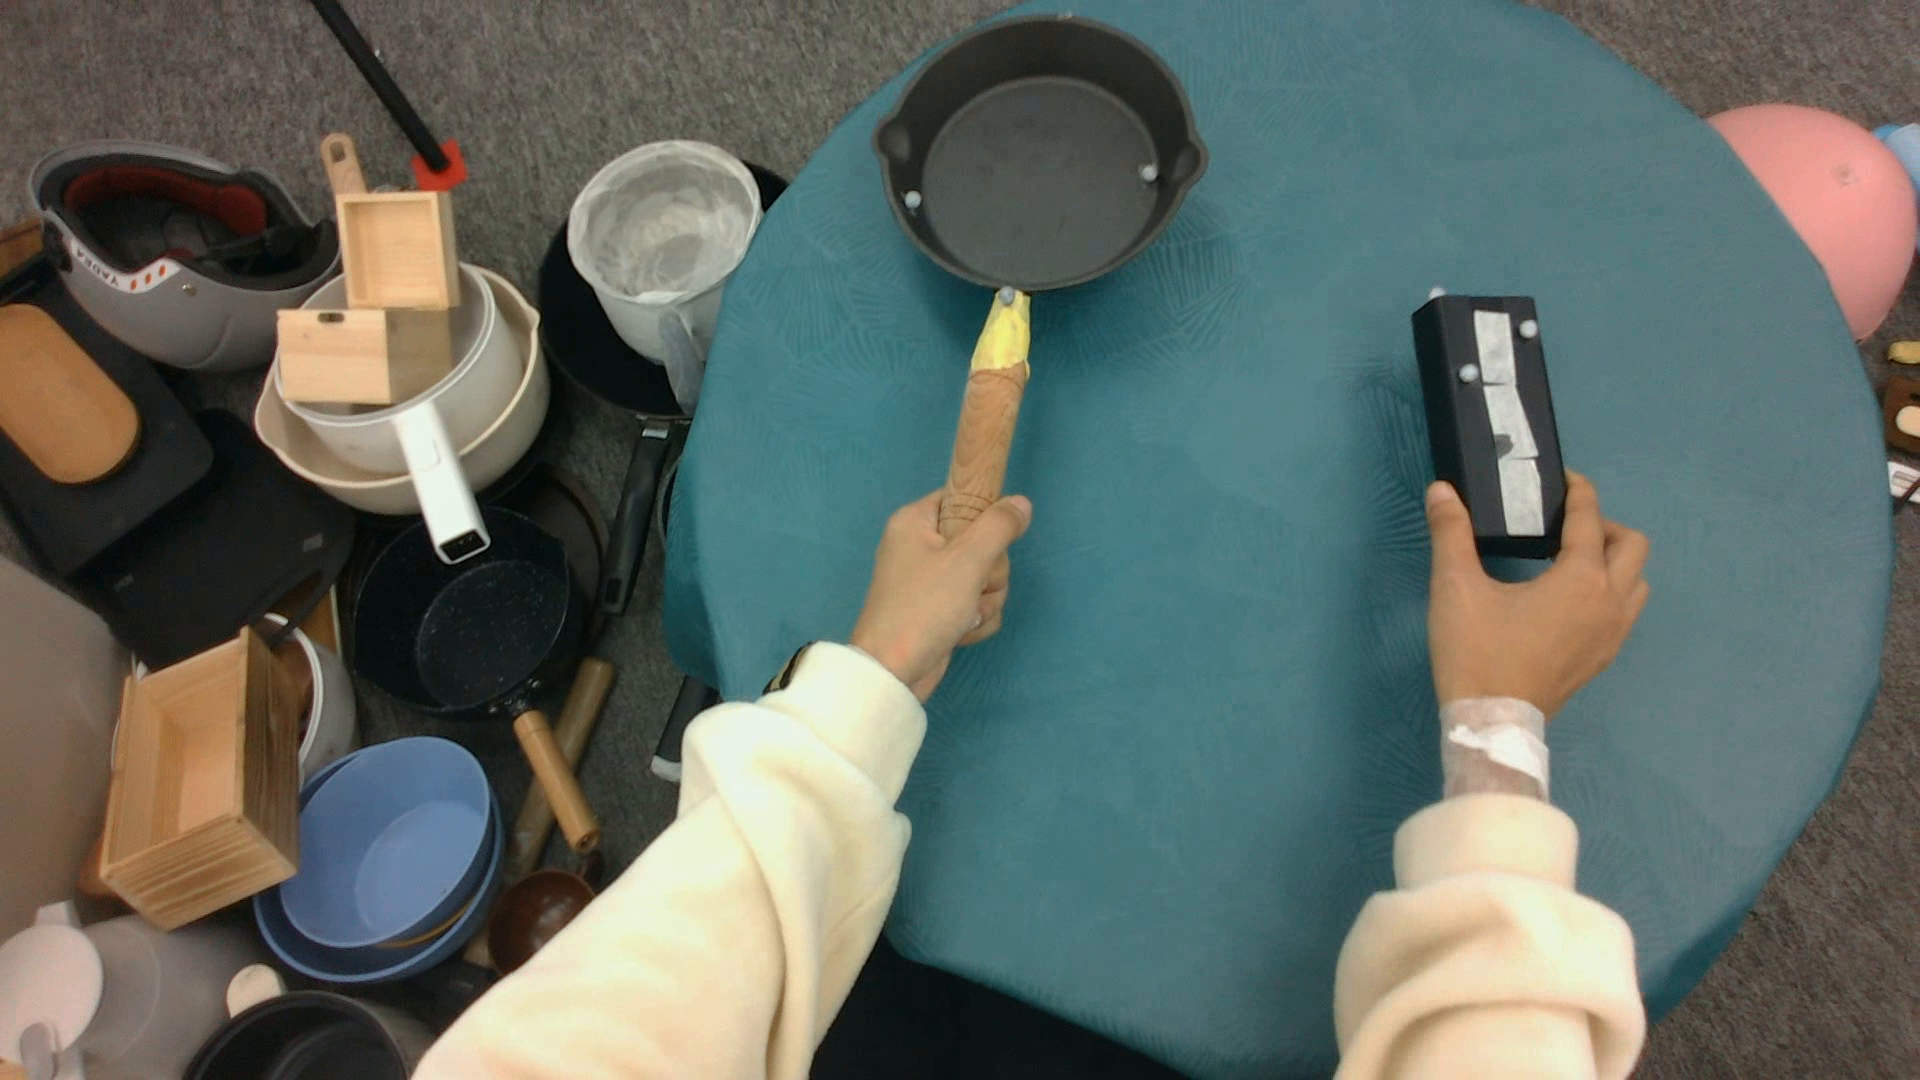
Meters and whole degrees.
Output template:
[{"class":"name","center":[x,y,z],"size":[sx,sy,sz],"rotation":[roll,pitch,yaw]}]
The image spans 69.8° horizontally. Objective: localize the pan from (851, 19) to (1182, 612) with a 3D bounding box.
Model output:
[{"class":"pan","center":[0.013,-0.117,0.675],"size":[0.169,0.049,0.325],"rotation":[9,71,8]}]

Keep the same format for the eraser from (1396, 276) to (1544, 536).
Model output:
[{"class":"eraser","center":[0.240,-0.064,0.653],"size":[0.053,0.030,0.126],"rotation":[2,74,-7]}]
